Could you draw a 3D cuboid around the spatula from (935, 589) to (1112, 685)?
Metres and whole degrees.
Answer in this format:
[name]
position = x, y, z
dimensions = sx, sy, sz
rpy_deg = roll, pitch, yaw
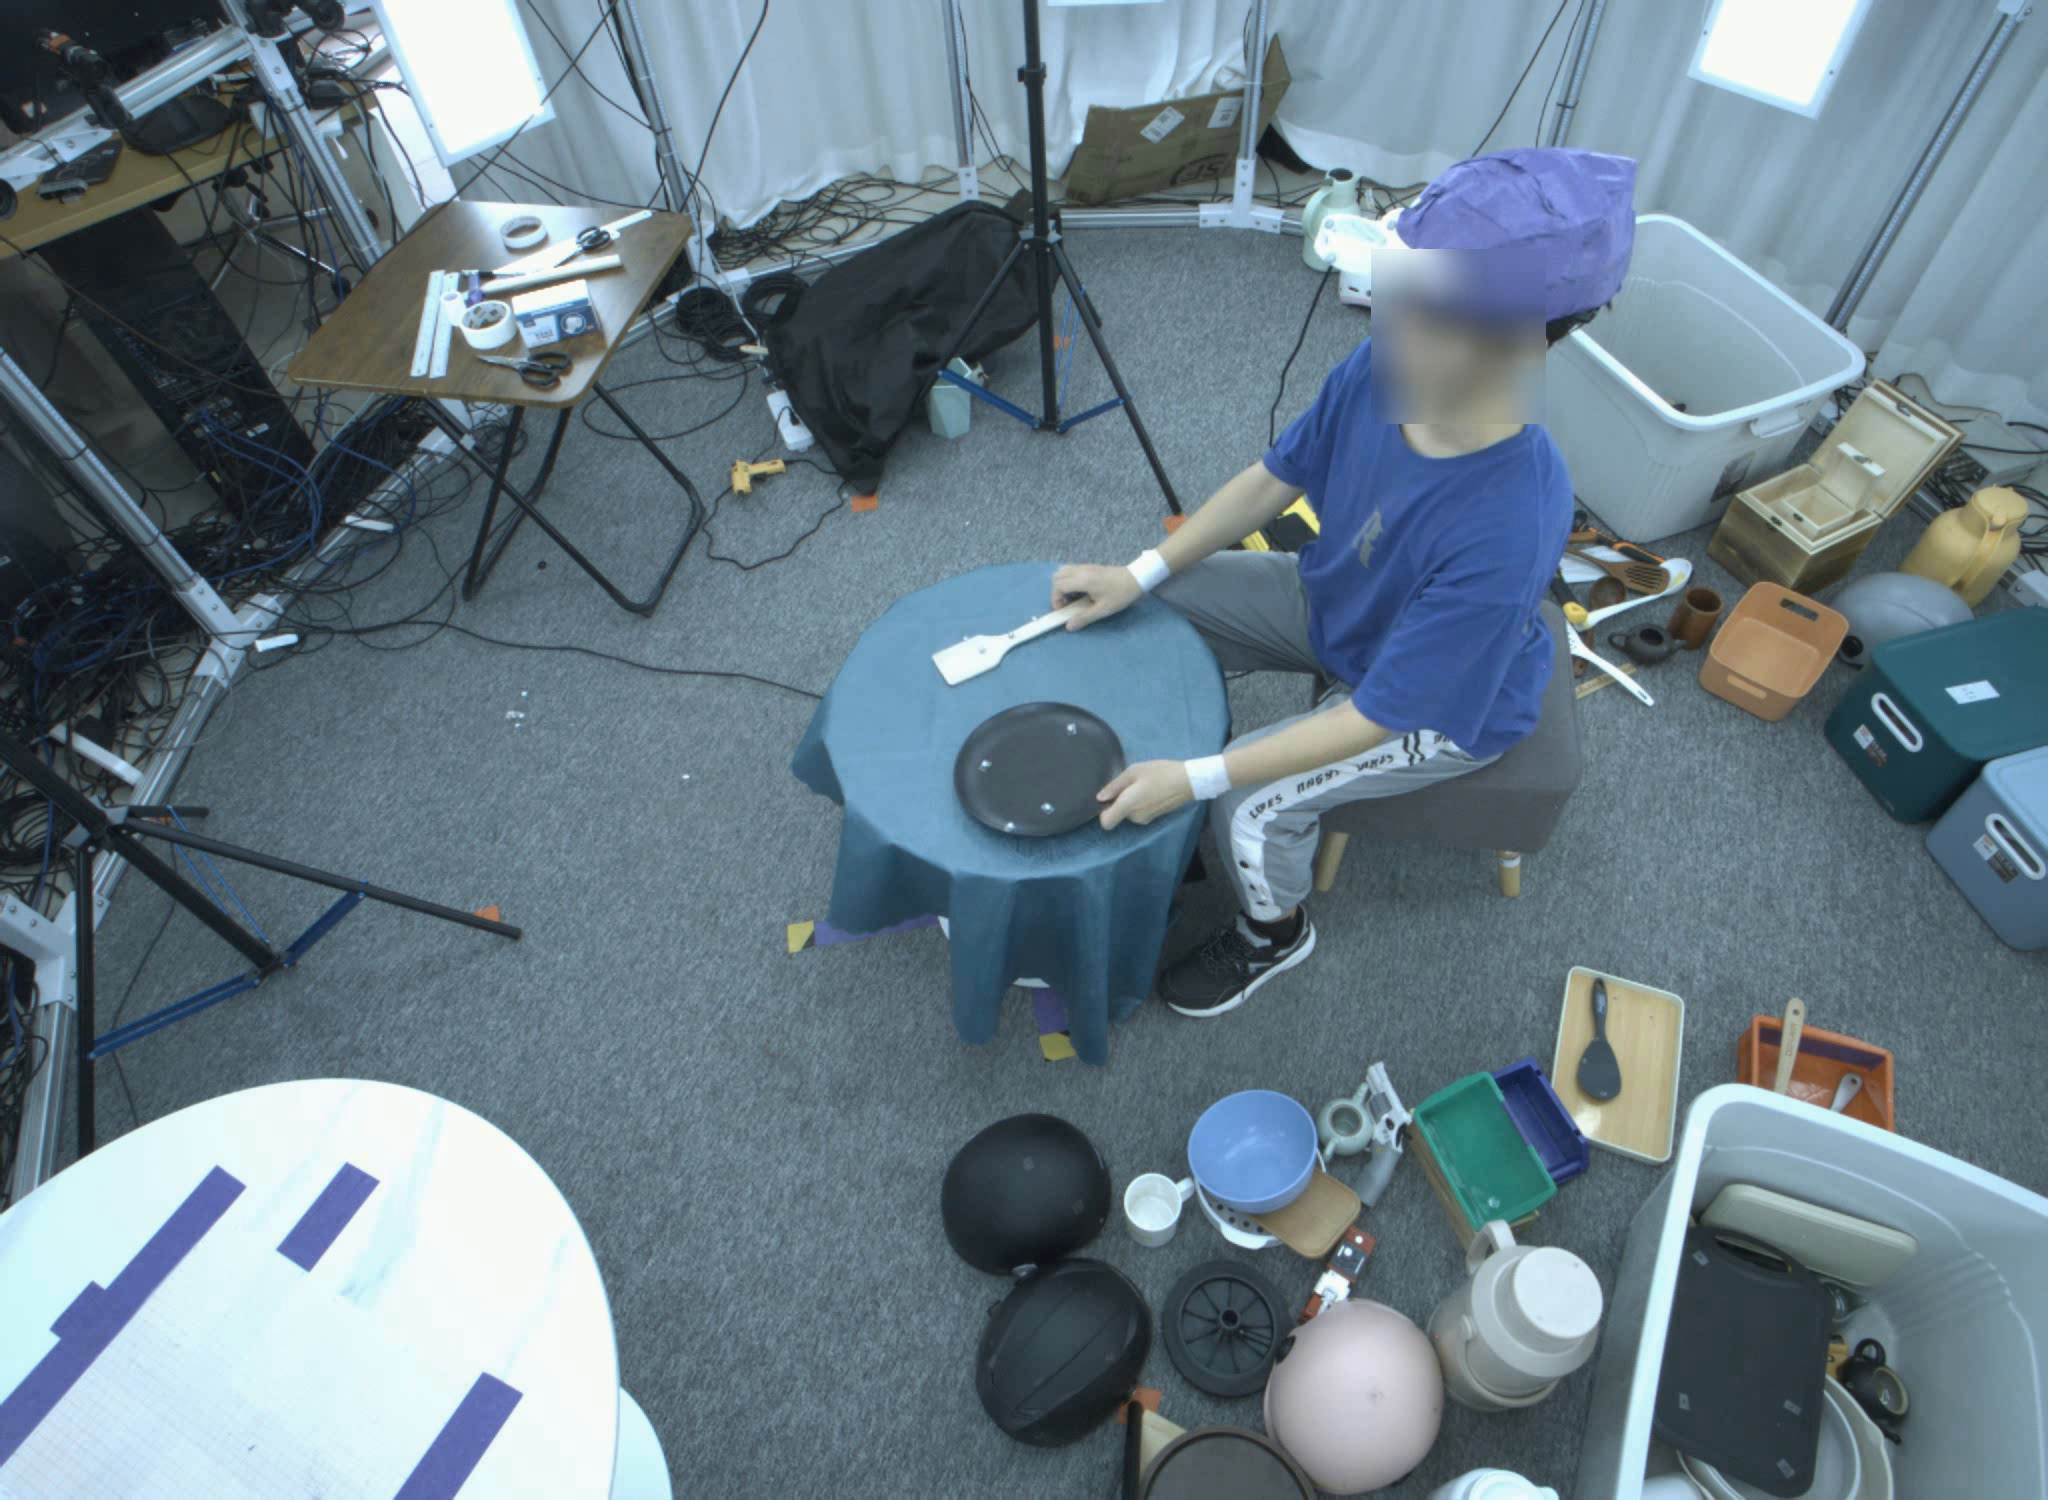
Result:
[spatula]
position = 0.005, -0.183, 1.898
dimensions = 0.295, 0.011, 0.071
rpy_deg = -26, 57, -12

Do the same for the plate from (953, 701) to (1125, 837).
[plate]
position = 0.021, 0.028, 1.733
dimensions = 0.243, 0.024, 0.242
rpy_deg = -3, 51, 5
